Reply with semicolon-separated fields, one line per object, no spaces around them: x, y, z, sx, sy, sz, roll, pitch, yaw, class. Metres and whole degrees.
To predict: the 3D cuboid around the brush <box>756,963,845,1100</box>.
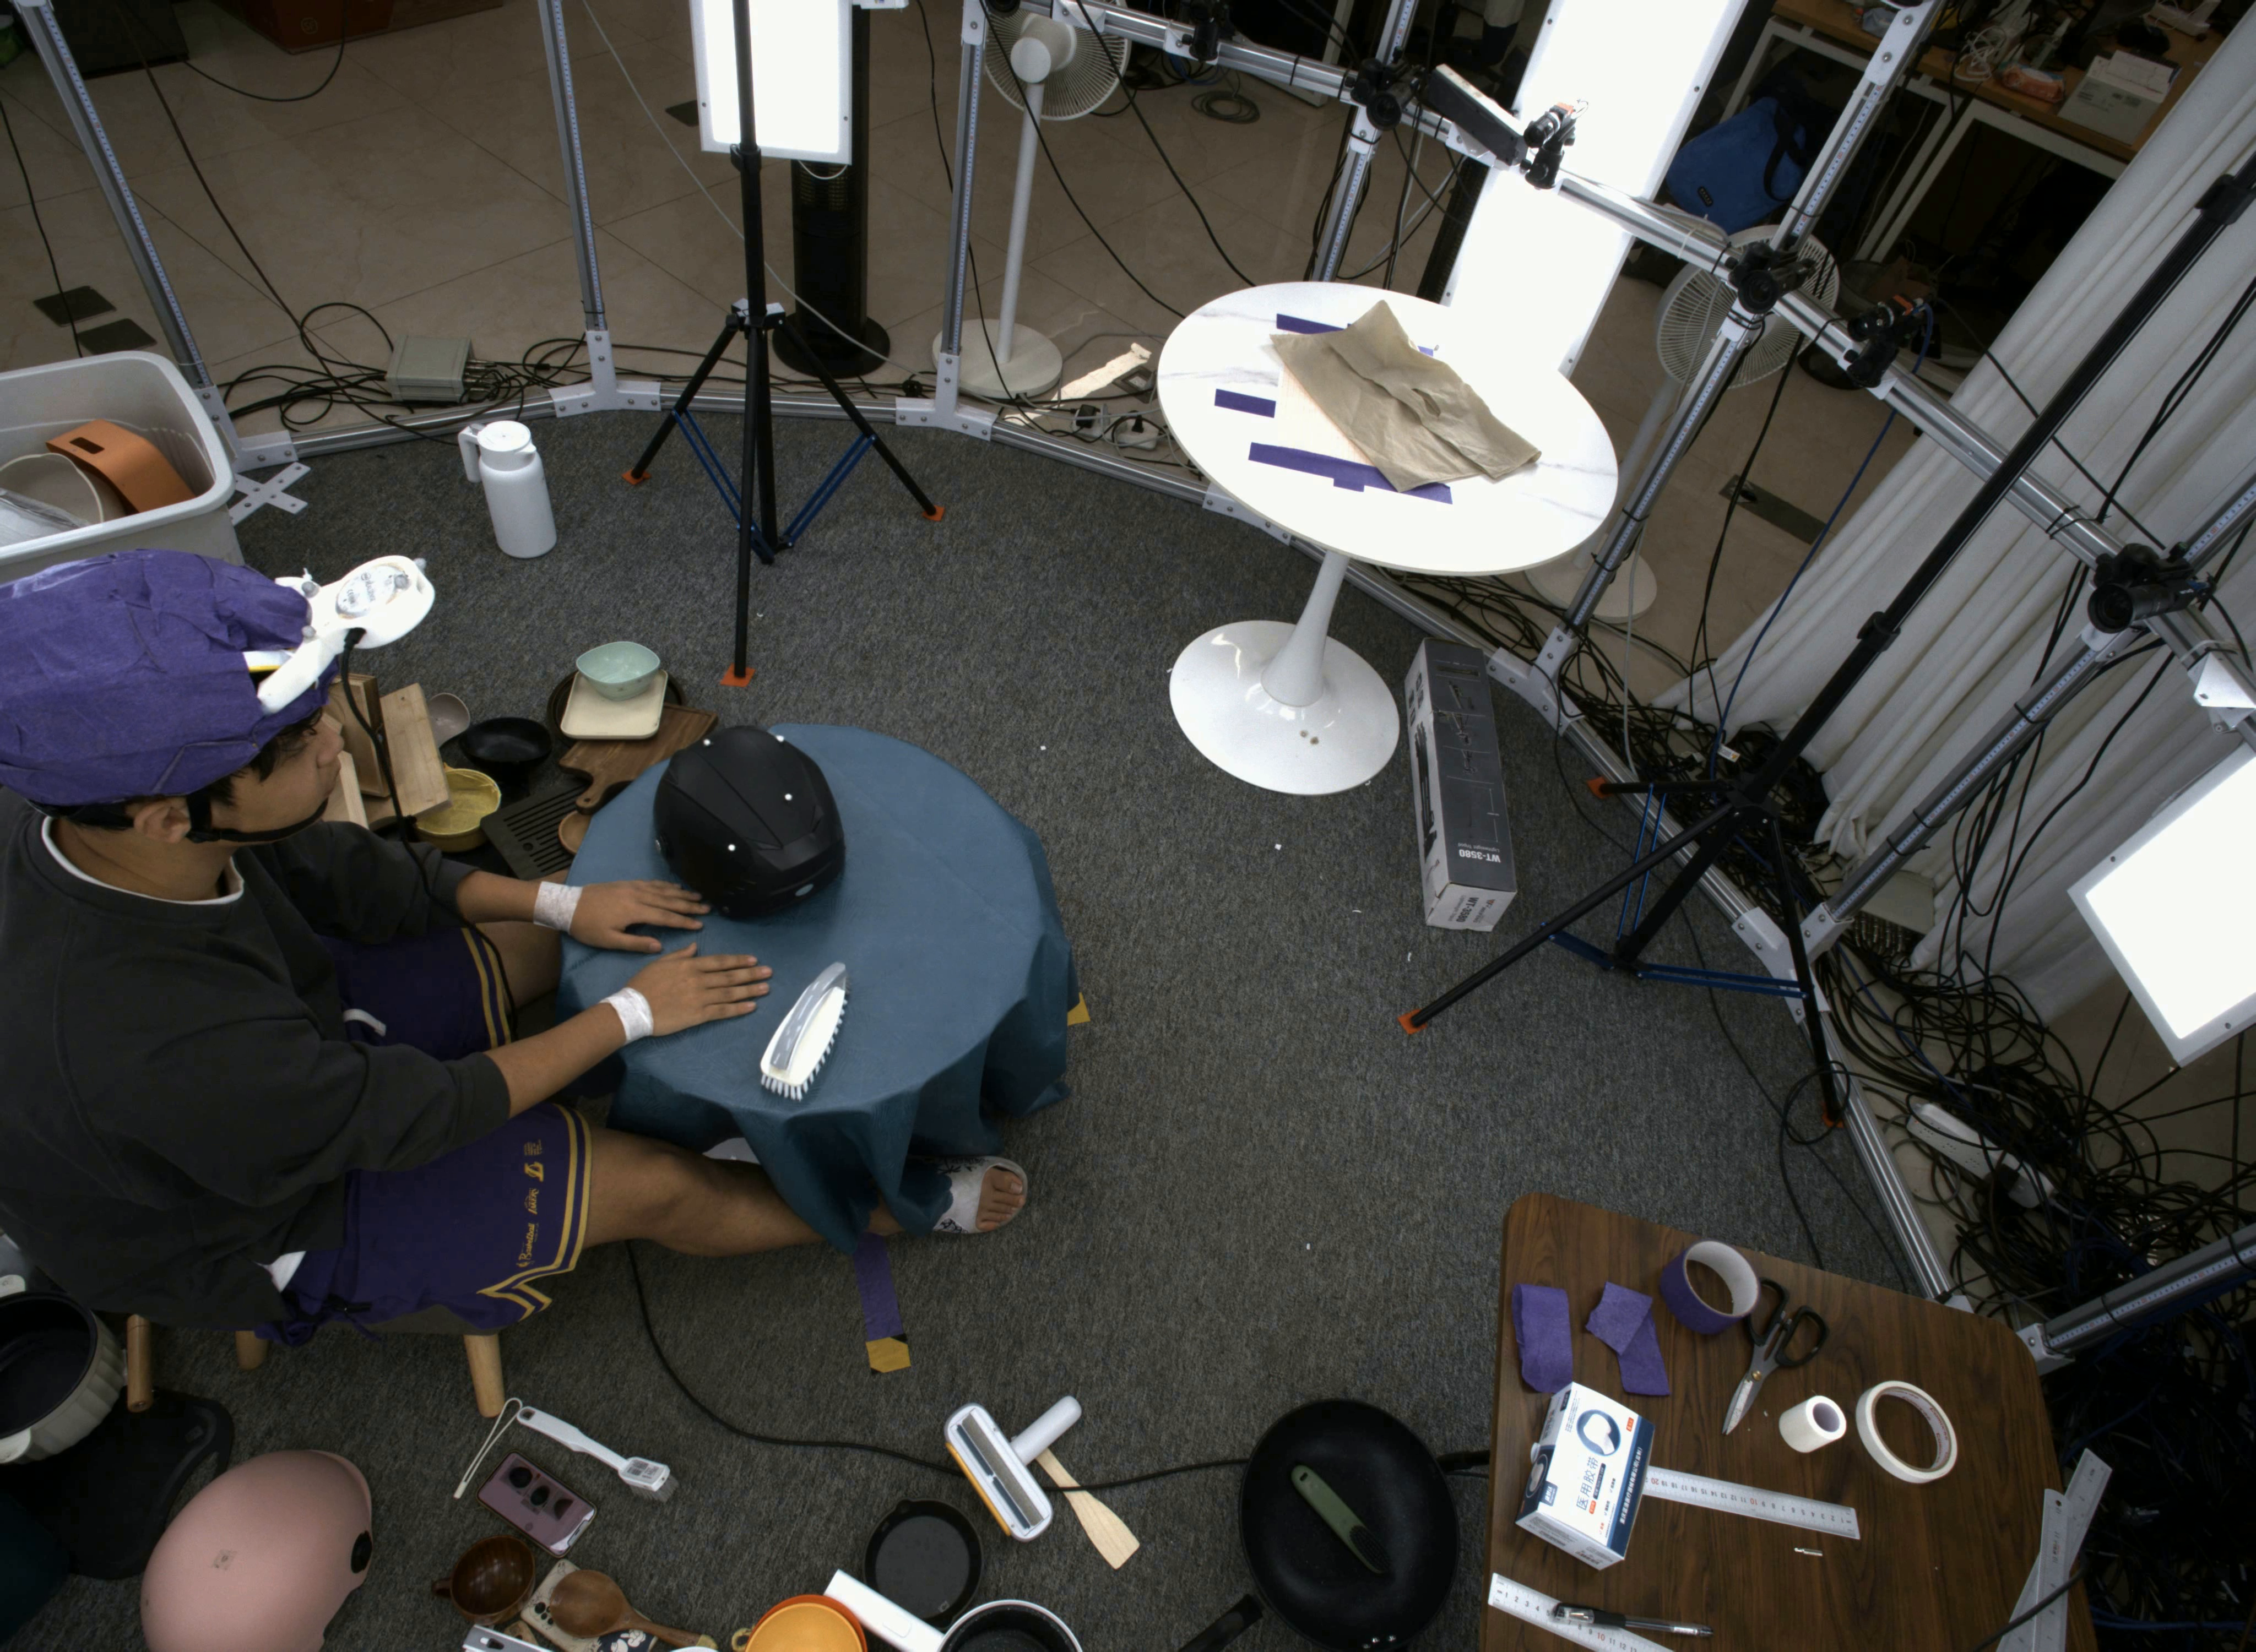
-0.373;0.220;1.518;0.061;0.096;0.174;23;49;2;brush

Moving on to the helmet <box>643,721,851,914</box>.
-0.478;-0.028;1.634;0.248;0.175;0.271;-29;68;-31;helmet
